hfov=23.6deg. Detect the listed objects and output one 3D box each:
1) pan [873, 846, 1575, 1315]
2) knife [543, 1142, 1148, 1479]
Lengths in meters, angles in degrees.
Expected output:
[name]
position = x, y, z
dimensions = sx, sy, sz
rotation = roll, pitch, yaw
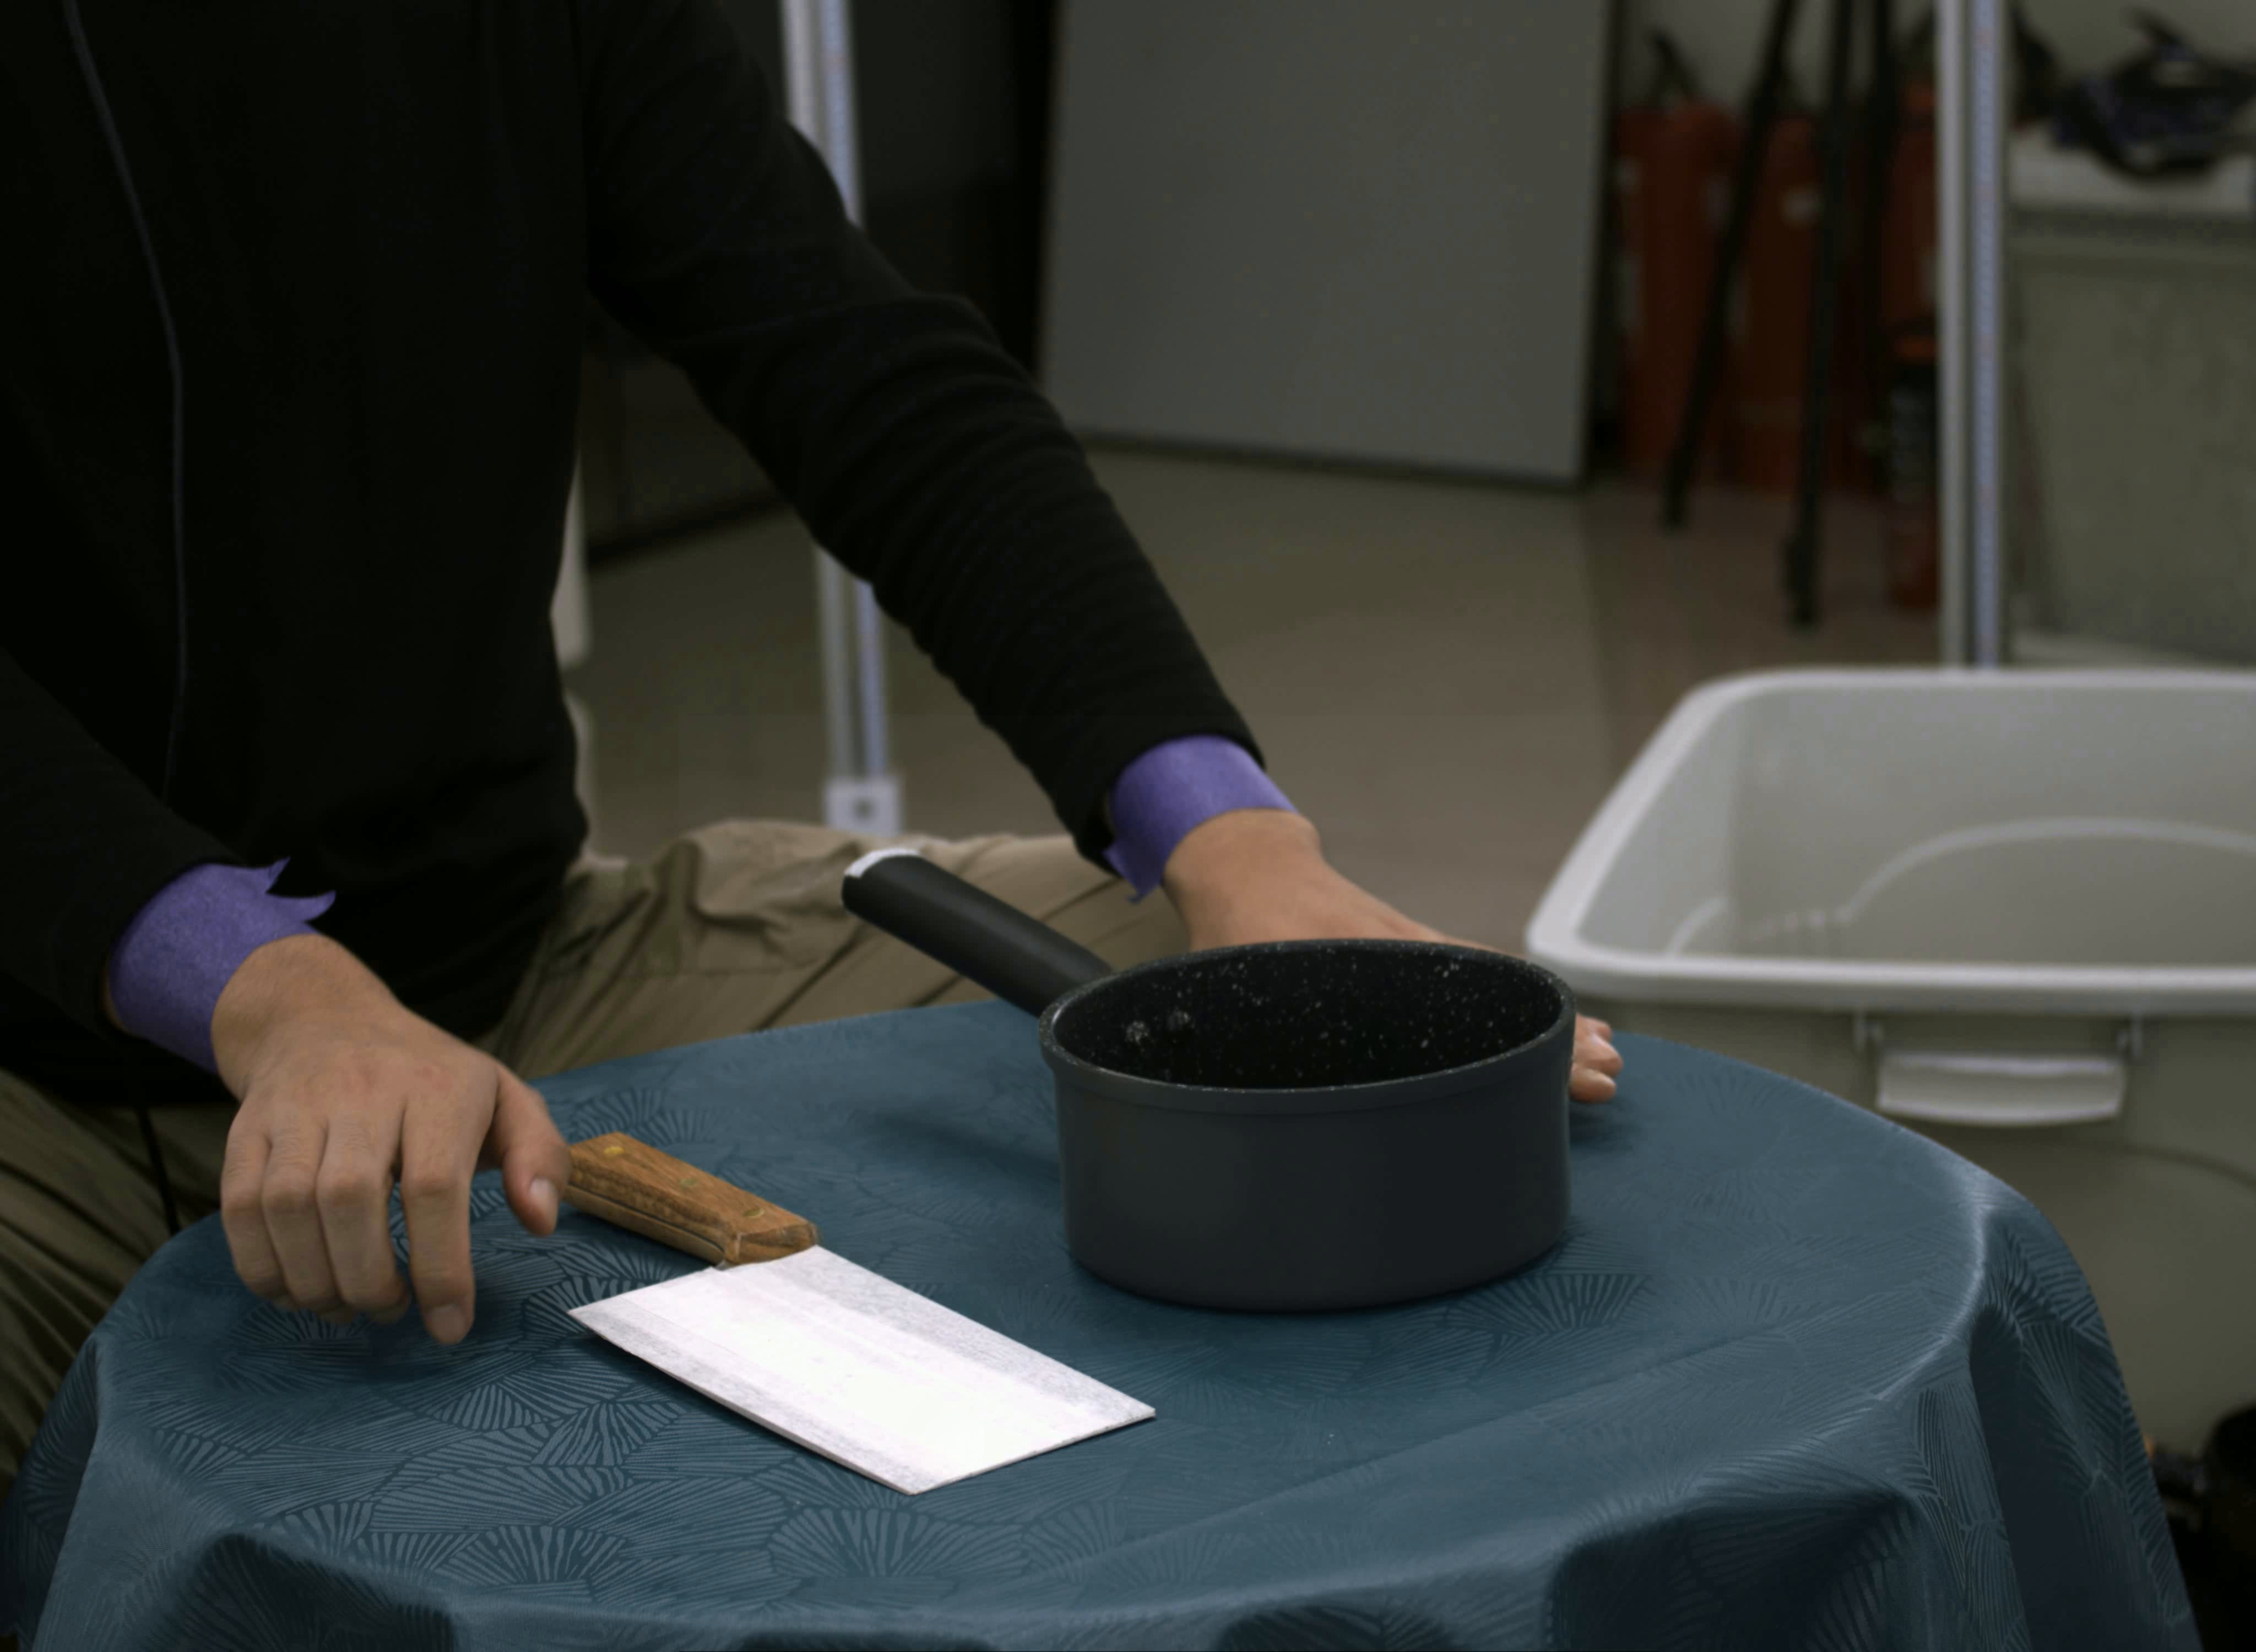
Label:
[pan]
position = 0.014, 0.078, 1.772
dimensions = 0.168, 0.087, 0.332
rotation = -12, 17, -32
[knife]
position = -0.113, 0.150, 1.663
dimensions = 0.091, 0.021, 0.309
rotation = -15, 20, -32
